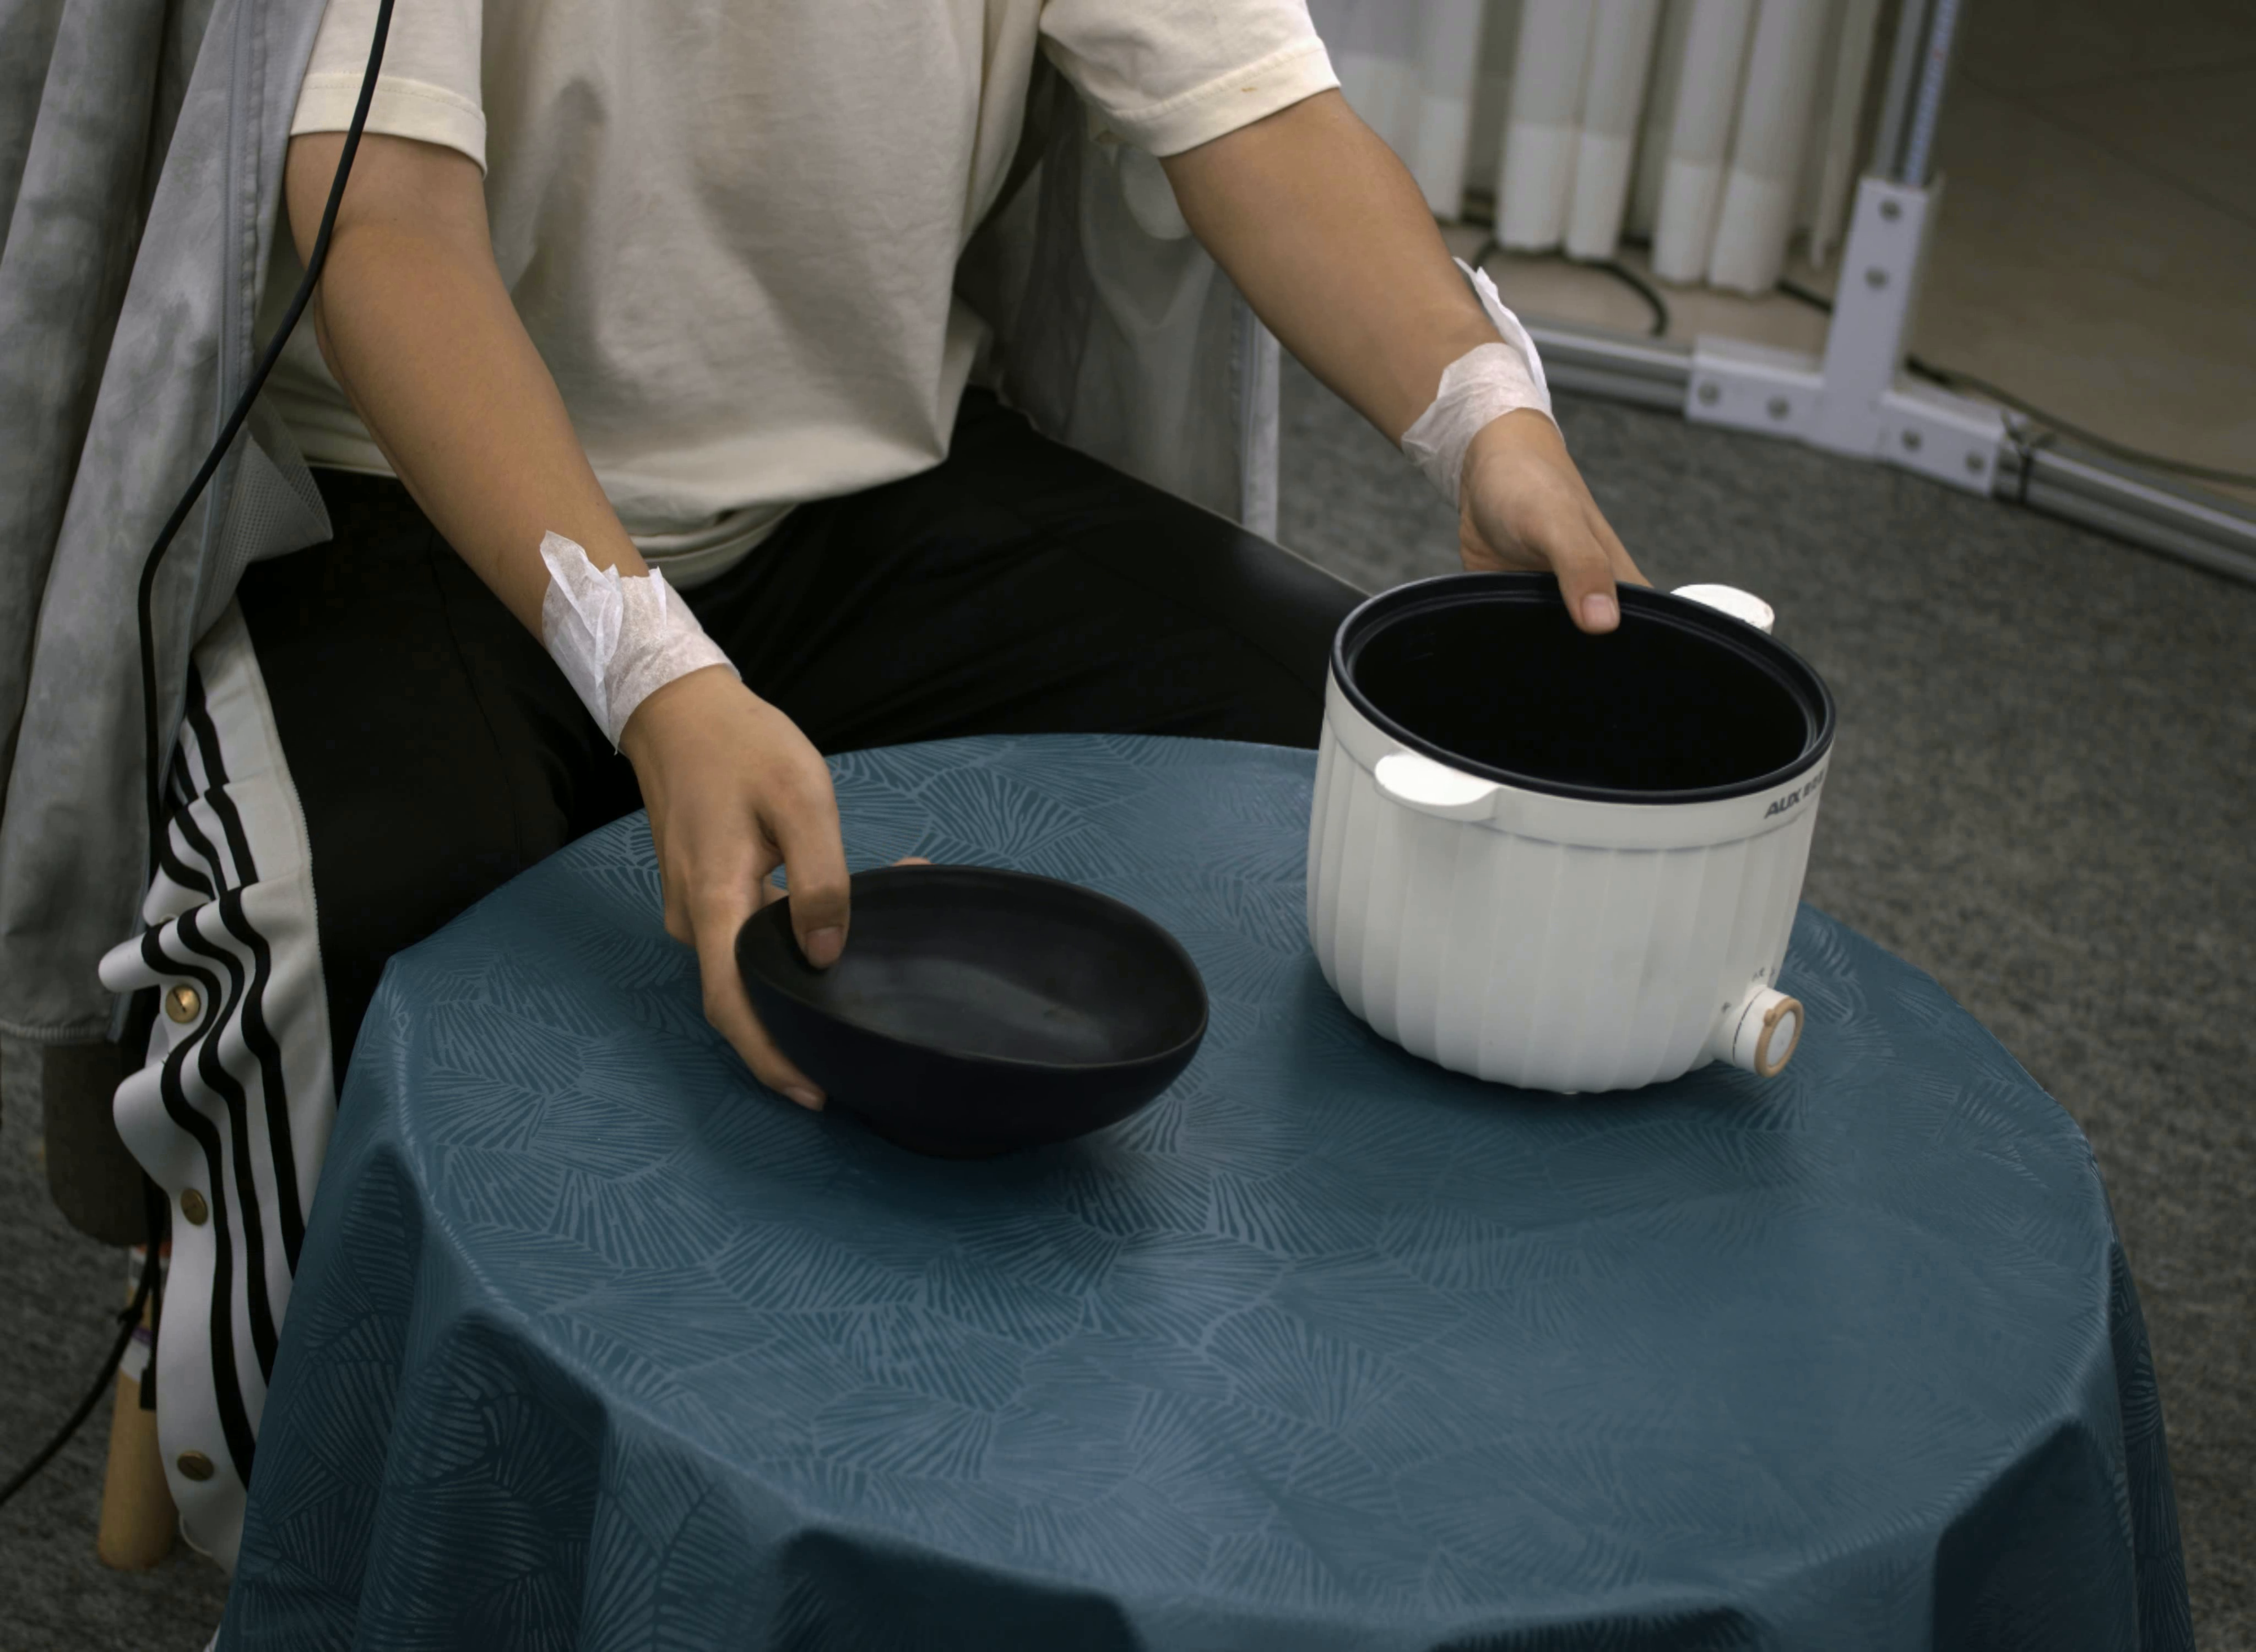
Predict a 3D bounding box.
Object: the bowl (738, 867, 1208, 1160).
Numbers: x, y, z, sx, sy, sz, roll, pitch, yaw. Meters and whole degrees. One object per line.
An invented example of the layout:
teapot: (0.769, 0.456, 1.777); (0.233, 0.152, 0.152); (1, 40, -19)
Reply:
bowl: (-0.057, 0.072, 1.824); (0.171, 0.066, 0.137); (16, 27, 20)

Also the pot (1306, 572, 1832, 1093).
pot: (0.159, 0.008, 1.917); (0.191, 0.142, 0.240); (19, 30, 30)
